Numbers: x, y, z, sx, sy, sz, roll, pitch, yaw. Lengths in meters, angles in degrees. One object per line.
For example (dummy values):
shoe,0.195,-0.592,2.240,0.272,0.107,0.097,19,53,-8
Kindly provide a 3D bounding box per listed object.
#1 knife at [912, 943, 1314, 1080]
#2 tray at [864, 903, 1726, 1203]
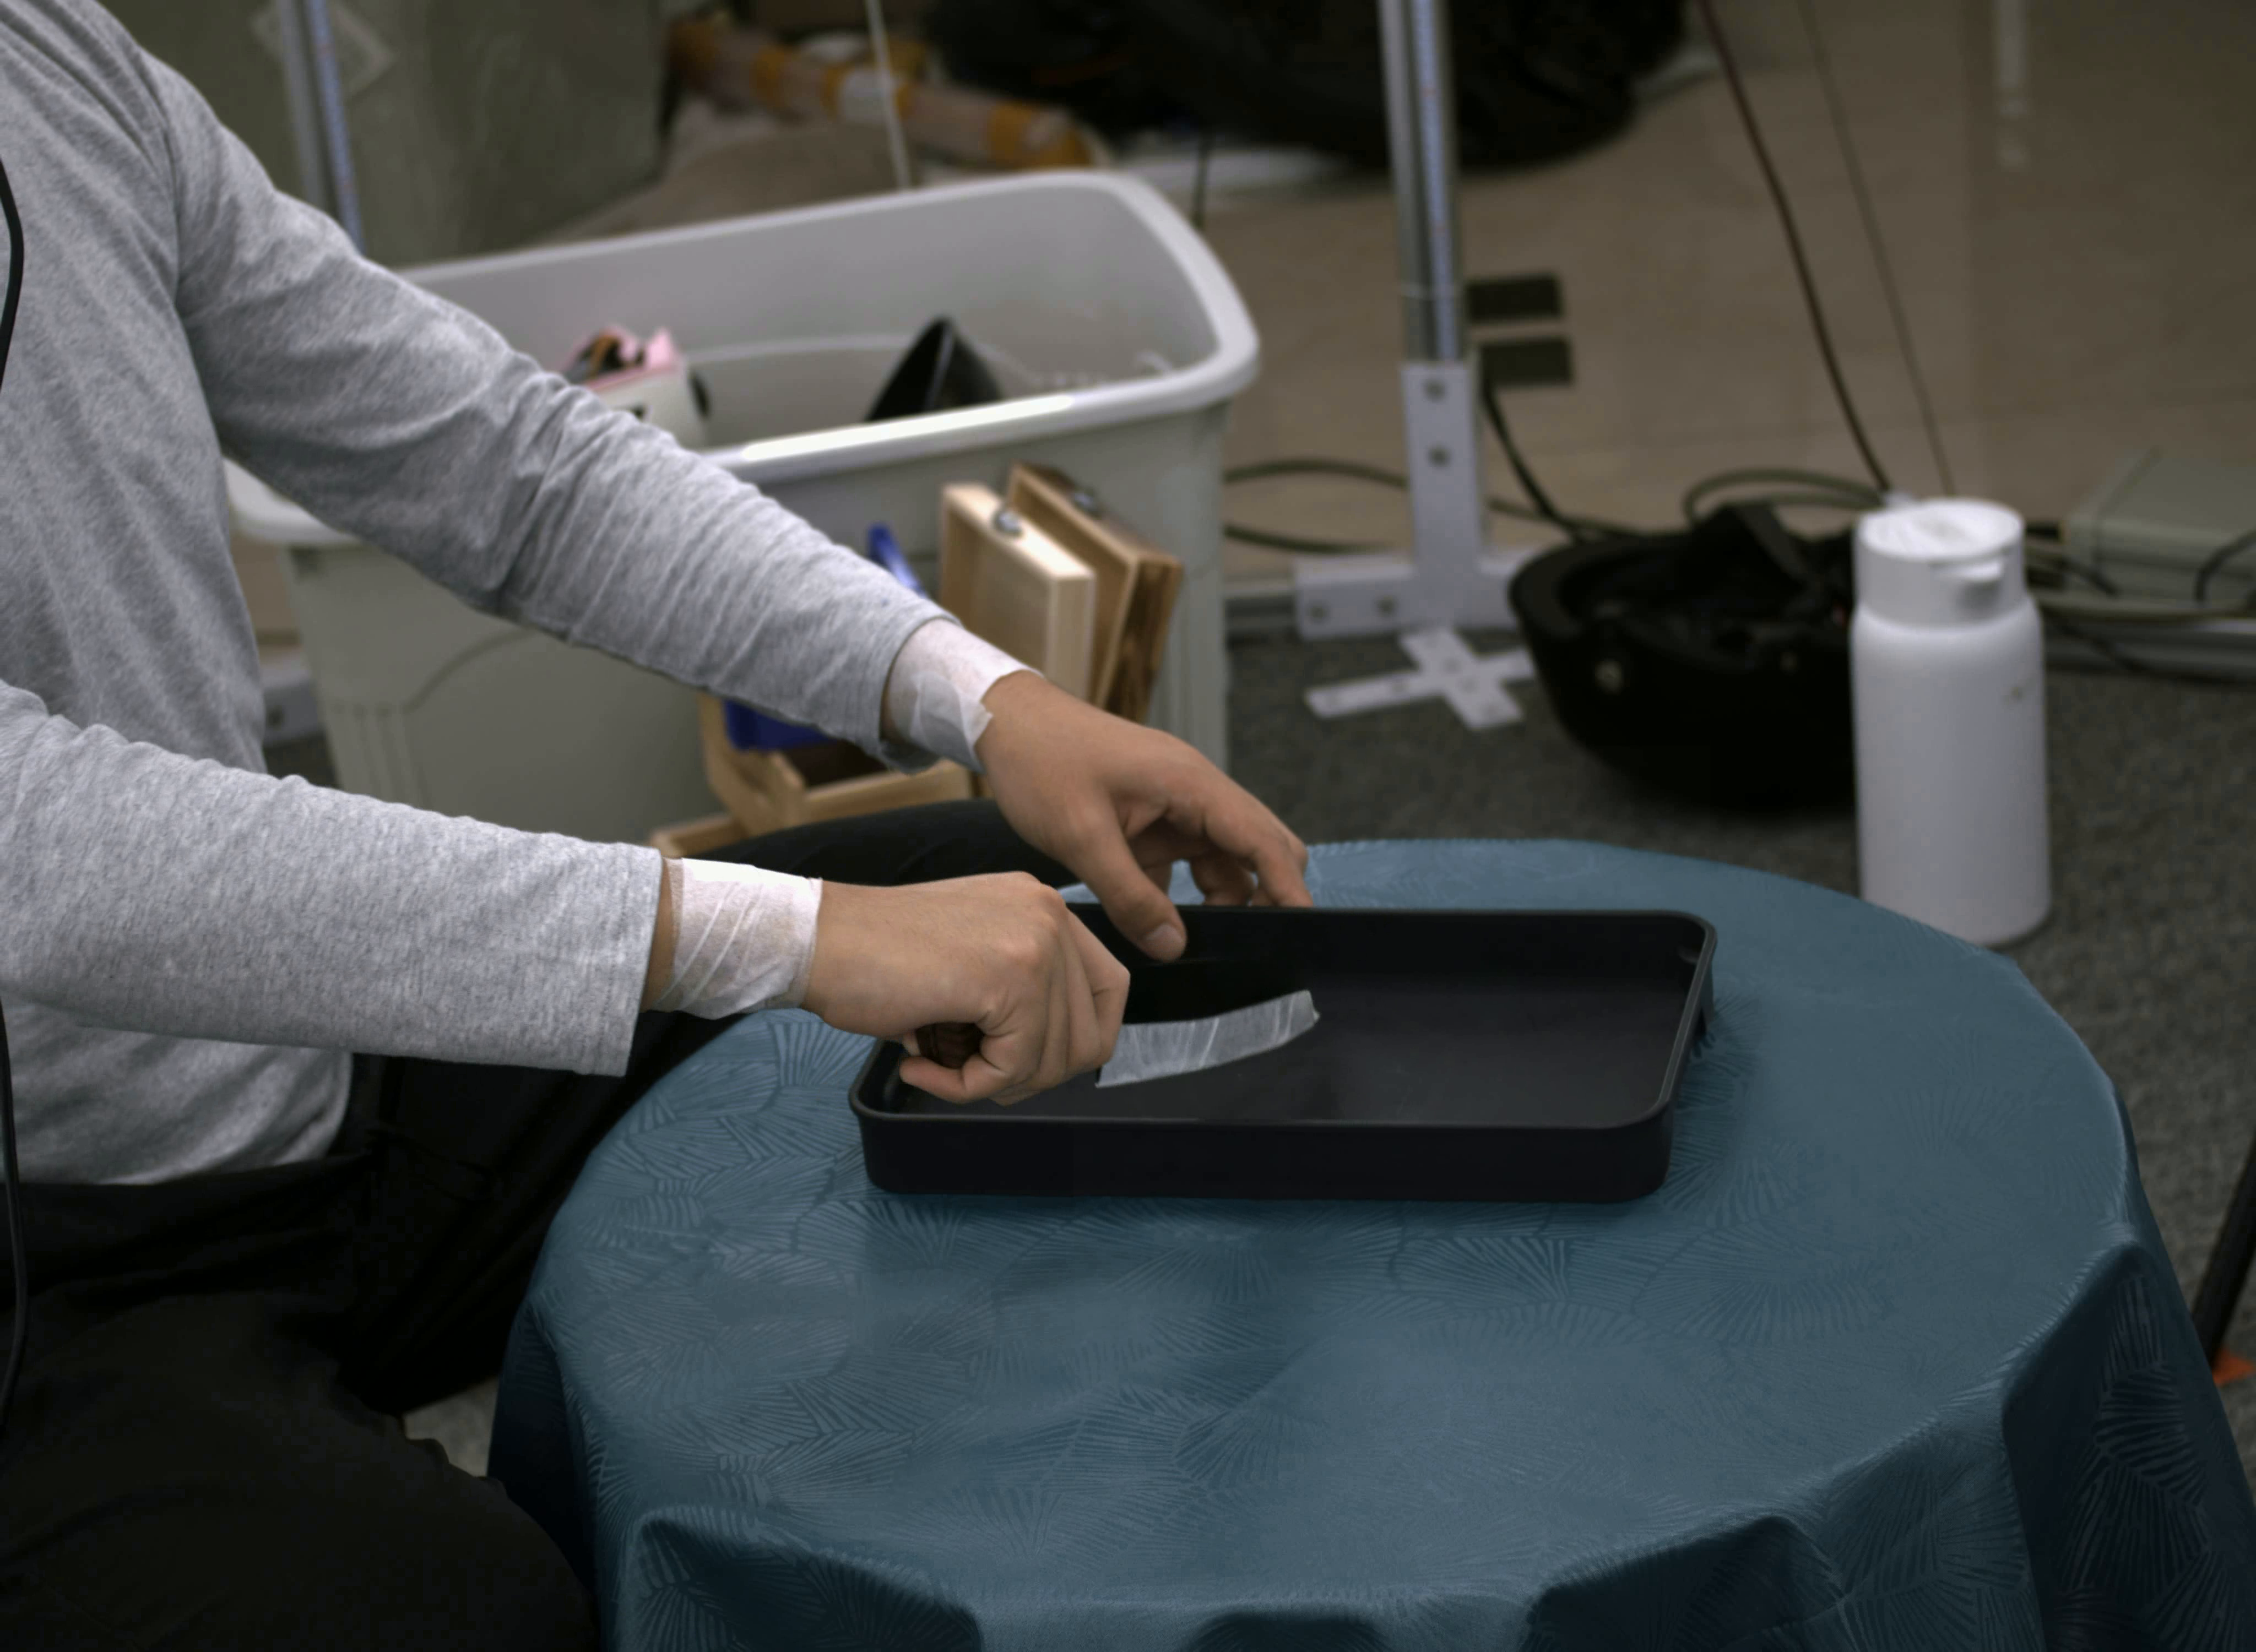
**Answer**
knife,0.002,0.069,2.095,0.020,0.050,0.289,14,7,29
tray,0.069,0.087,2.203,0.317,0.037,0.181,-1,26,12
